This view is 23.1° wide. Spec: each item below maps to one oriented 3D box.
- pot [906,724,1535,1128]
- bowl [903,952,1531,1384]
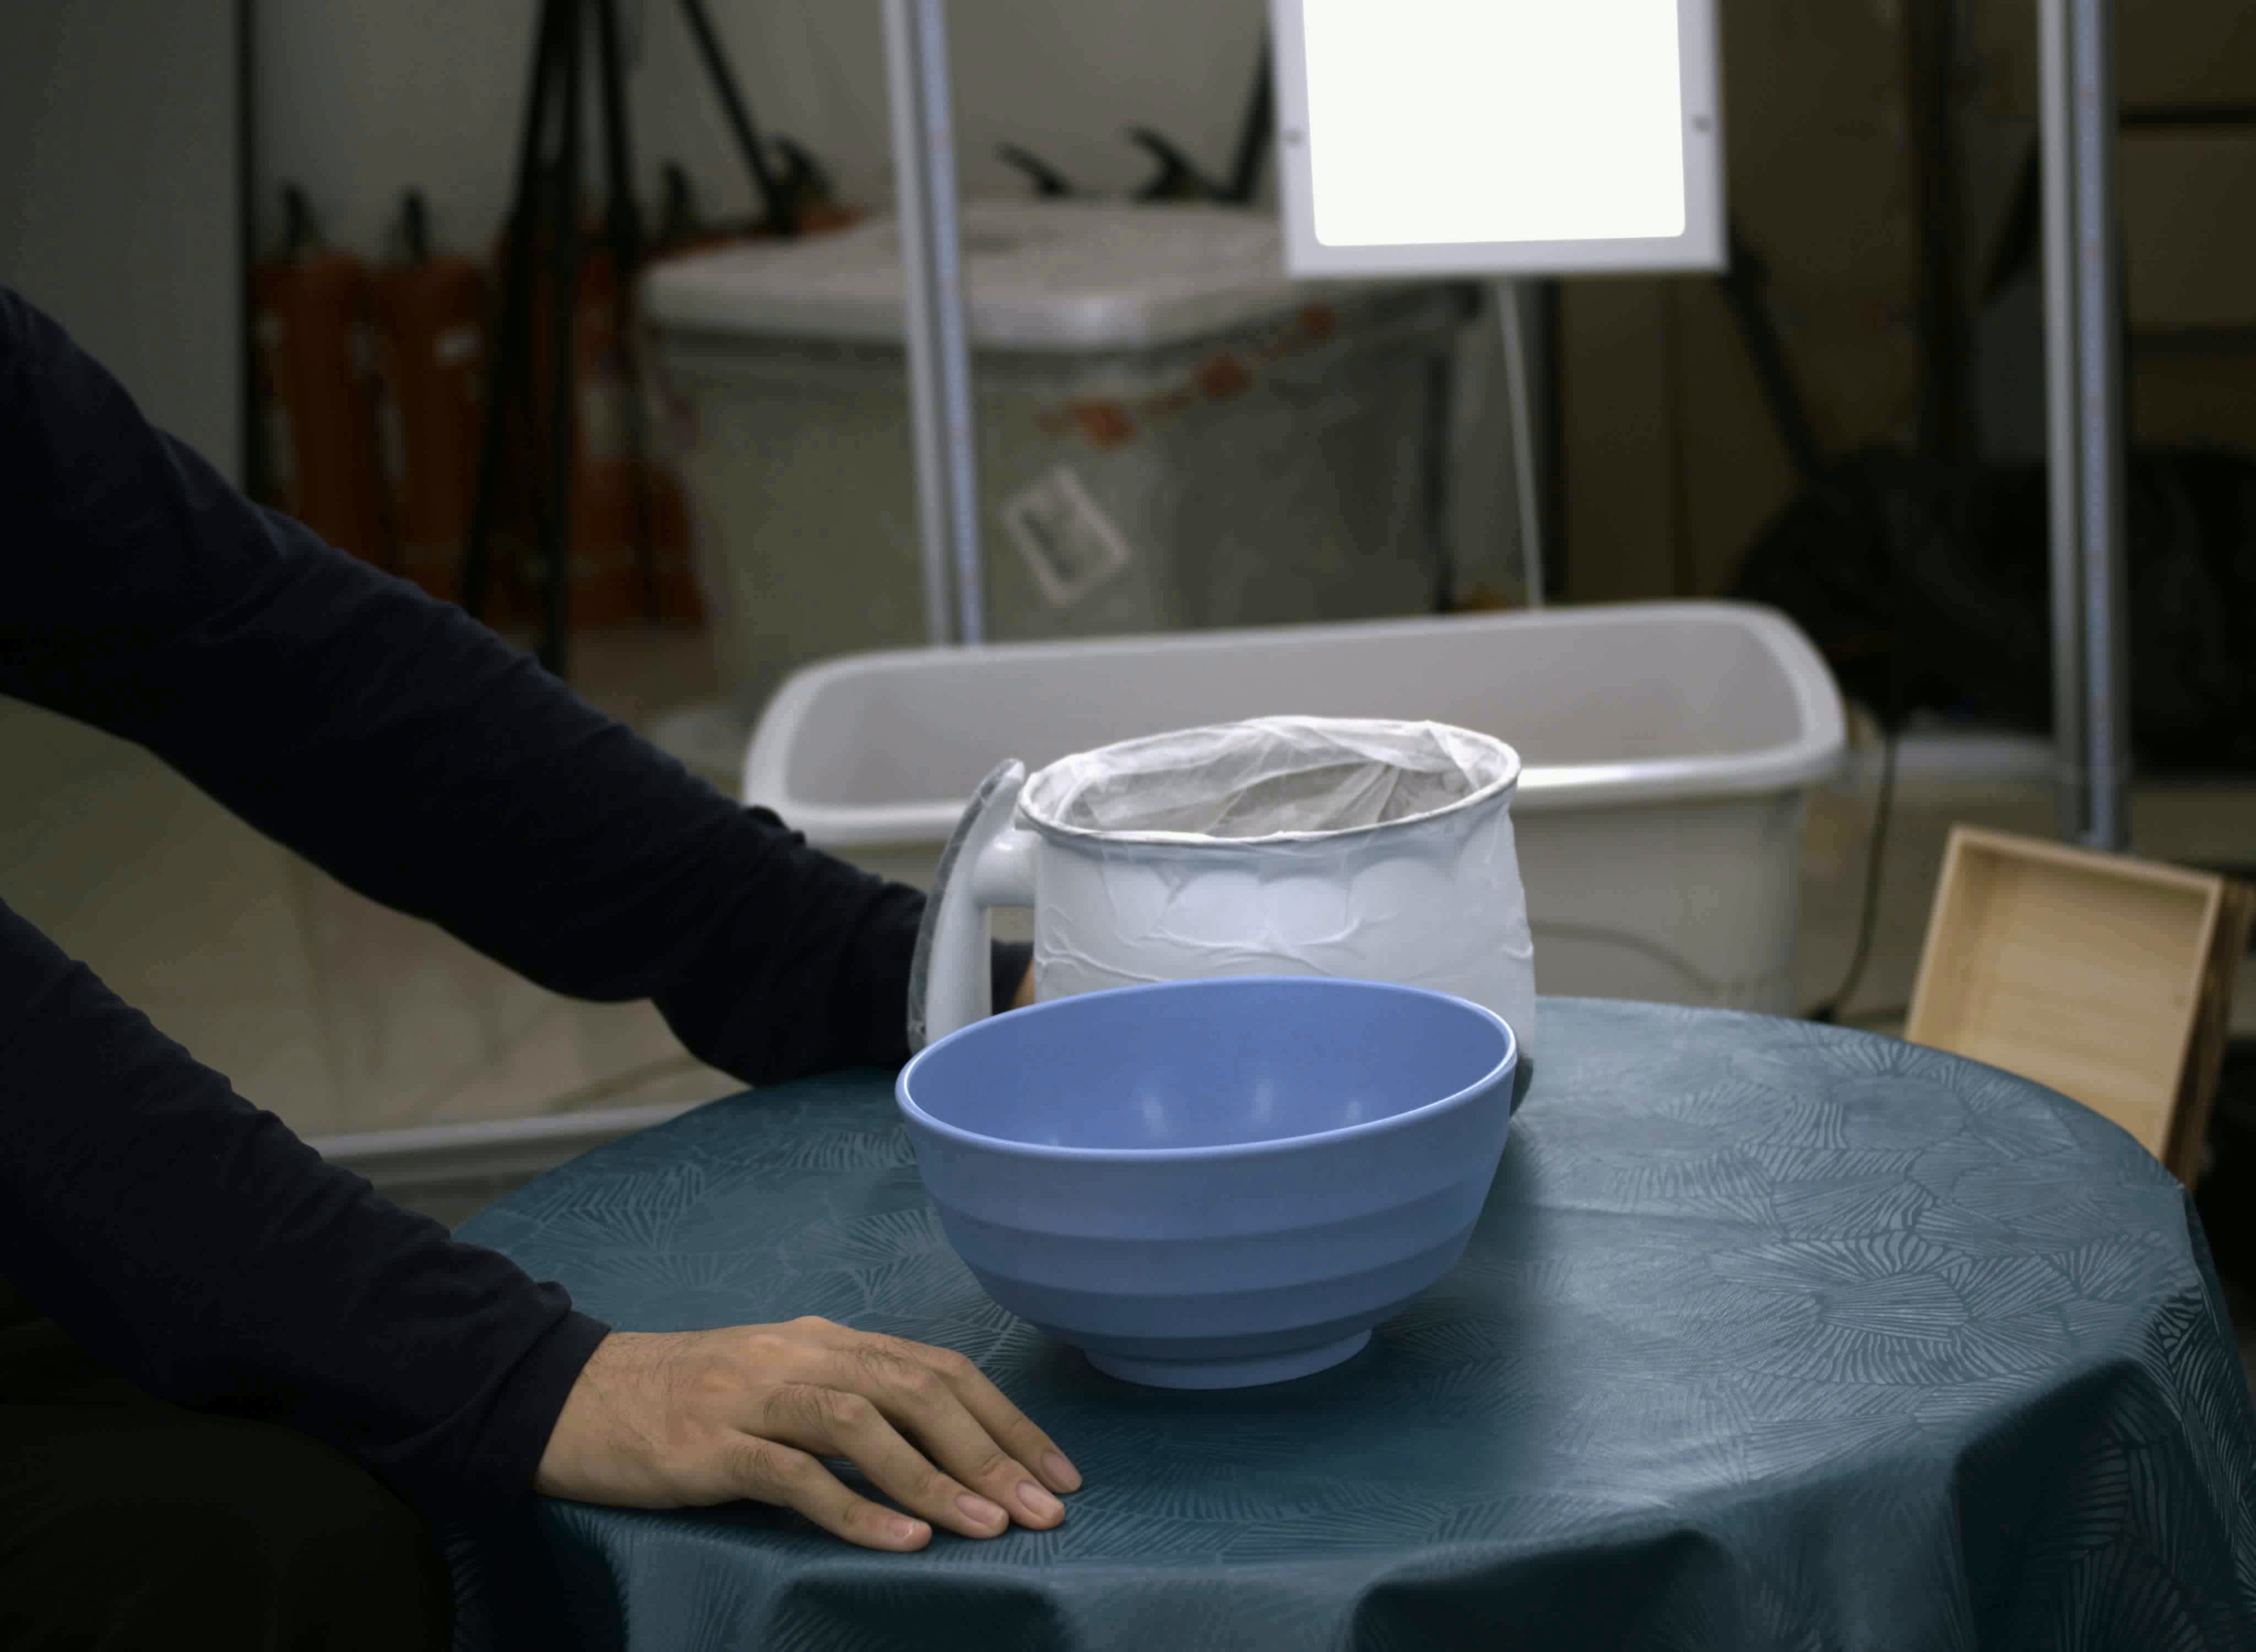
[{"bbox_3d":[0.029,0.043,1.943,0.237,0.137,0.175,2,12,23],"label":"pot"},{"bbox_3d":[0.029,0.114,1.729,0.196,0.096,0.196,-2,17,-1],"label":"bowl"}]
